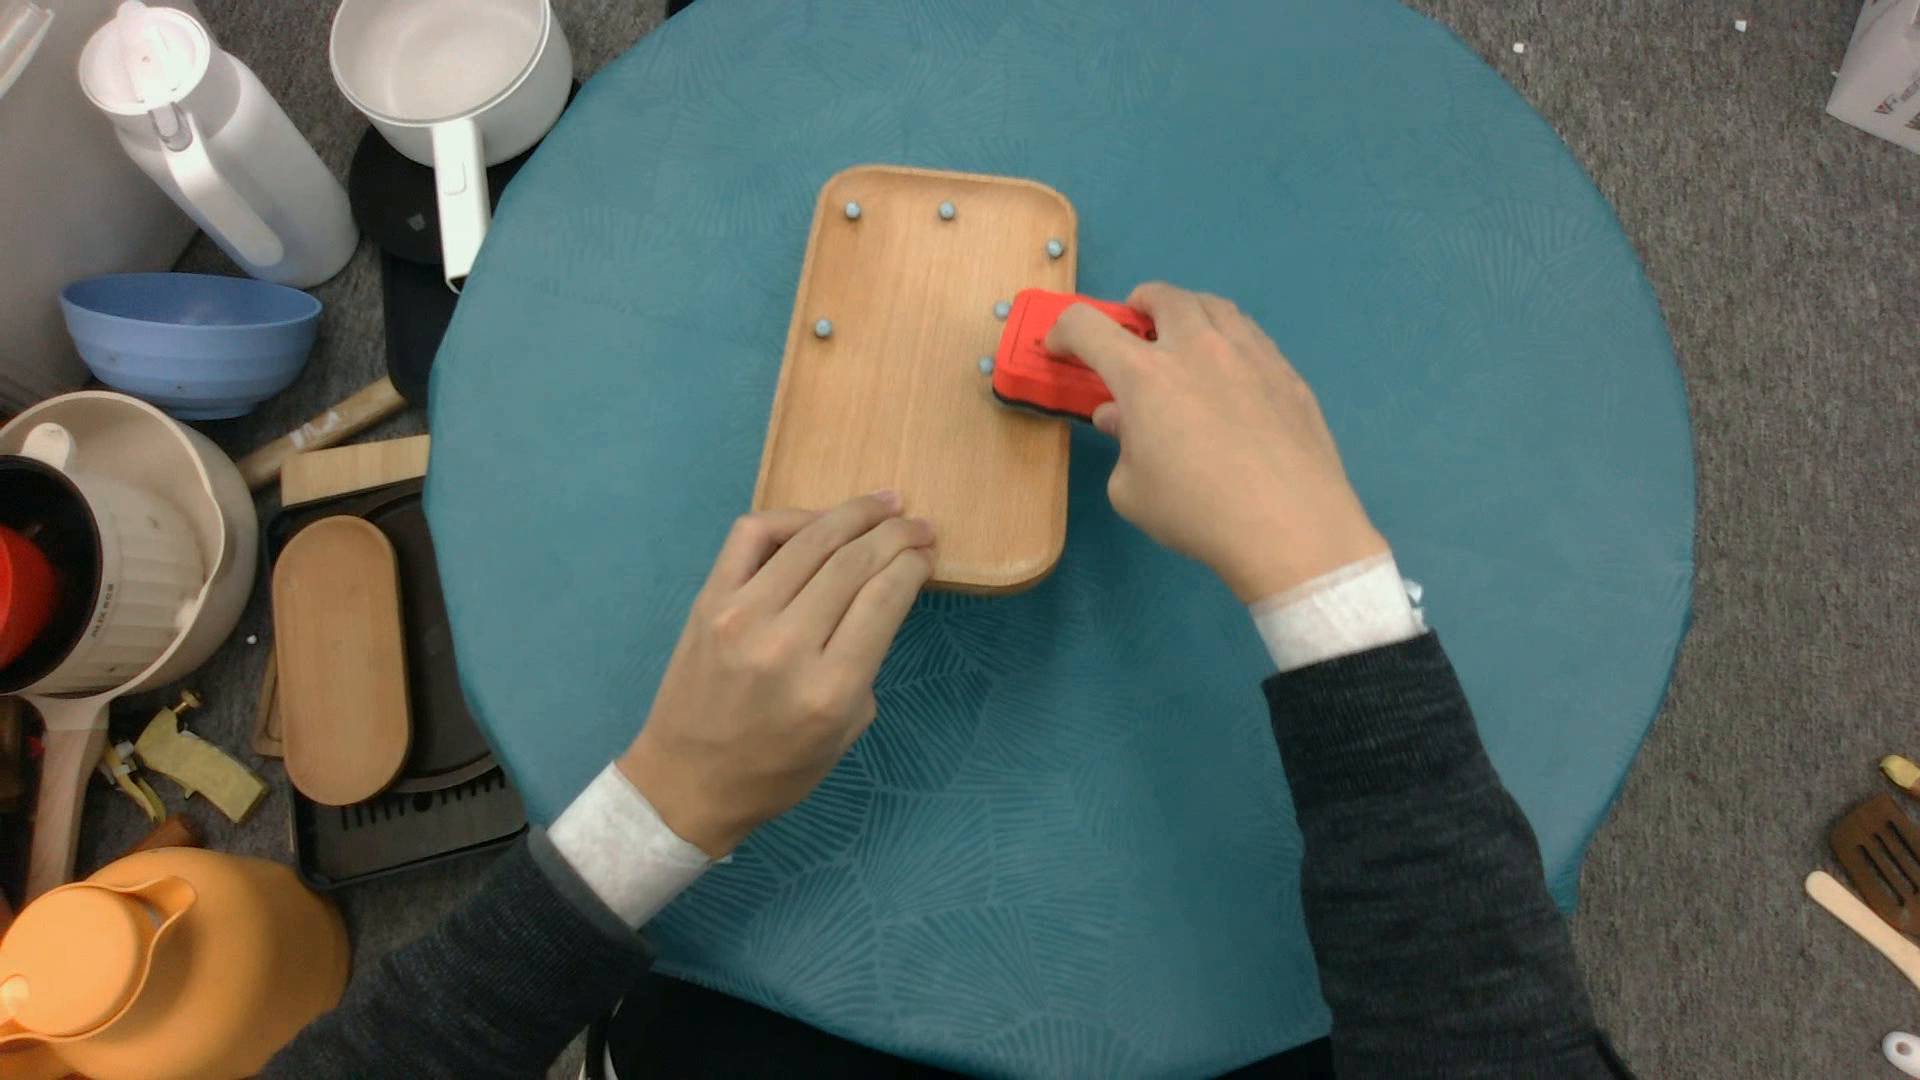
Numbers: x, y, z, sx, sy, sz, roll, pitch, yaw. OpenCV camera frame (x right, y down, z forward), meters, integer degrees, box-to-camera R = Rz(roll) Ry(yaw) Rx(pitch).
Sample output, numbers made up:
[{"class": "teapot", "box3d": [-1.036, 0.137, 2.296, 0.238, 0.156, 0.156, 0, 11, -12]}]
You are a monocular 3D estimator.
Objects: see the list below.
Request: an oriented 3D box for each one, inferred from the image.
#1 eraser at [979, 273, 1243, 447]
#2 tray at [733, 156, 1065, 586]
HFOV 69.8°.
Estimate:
[{"class": "eraser", "box3d": [0.065, -0.078, 0.594, 0.108, 0.023, 0.059, 14, 57, 4]}, {"class": "tray", "box3d": [-0.020, -0.085, 0.612, 0.130, 0.023, 0.252, 5, 53, 1]}]
